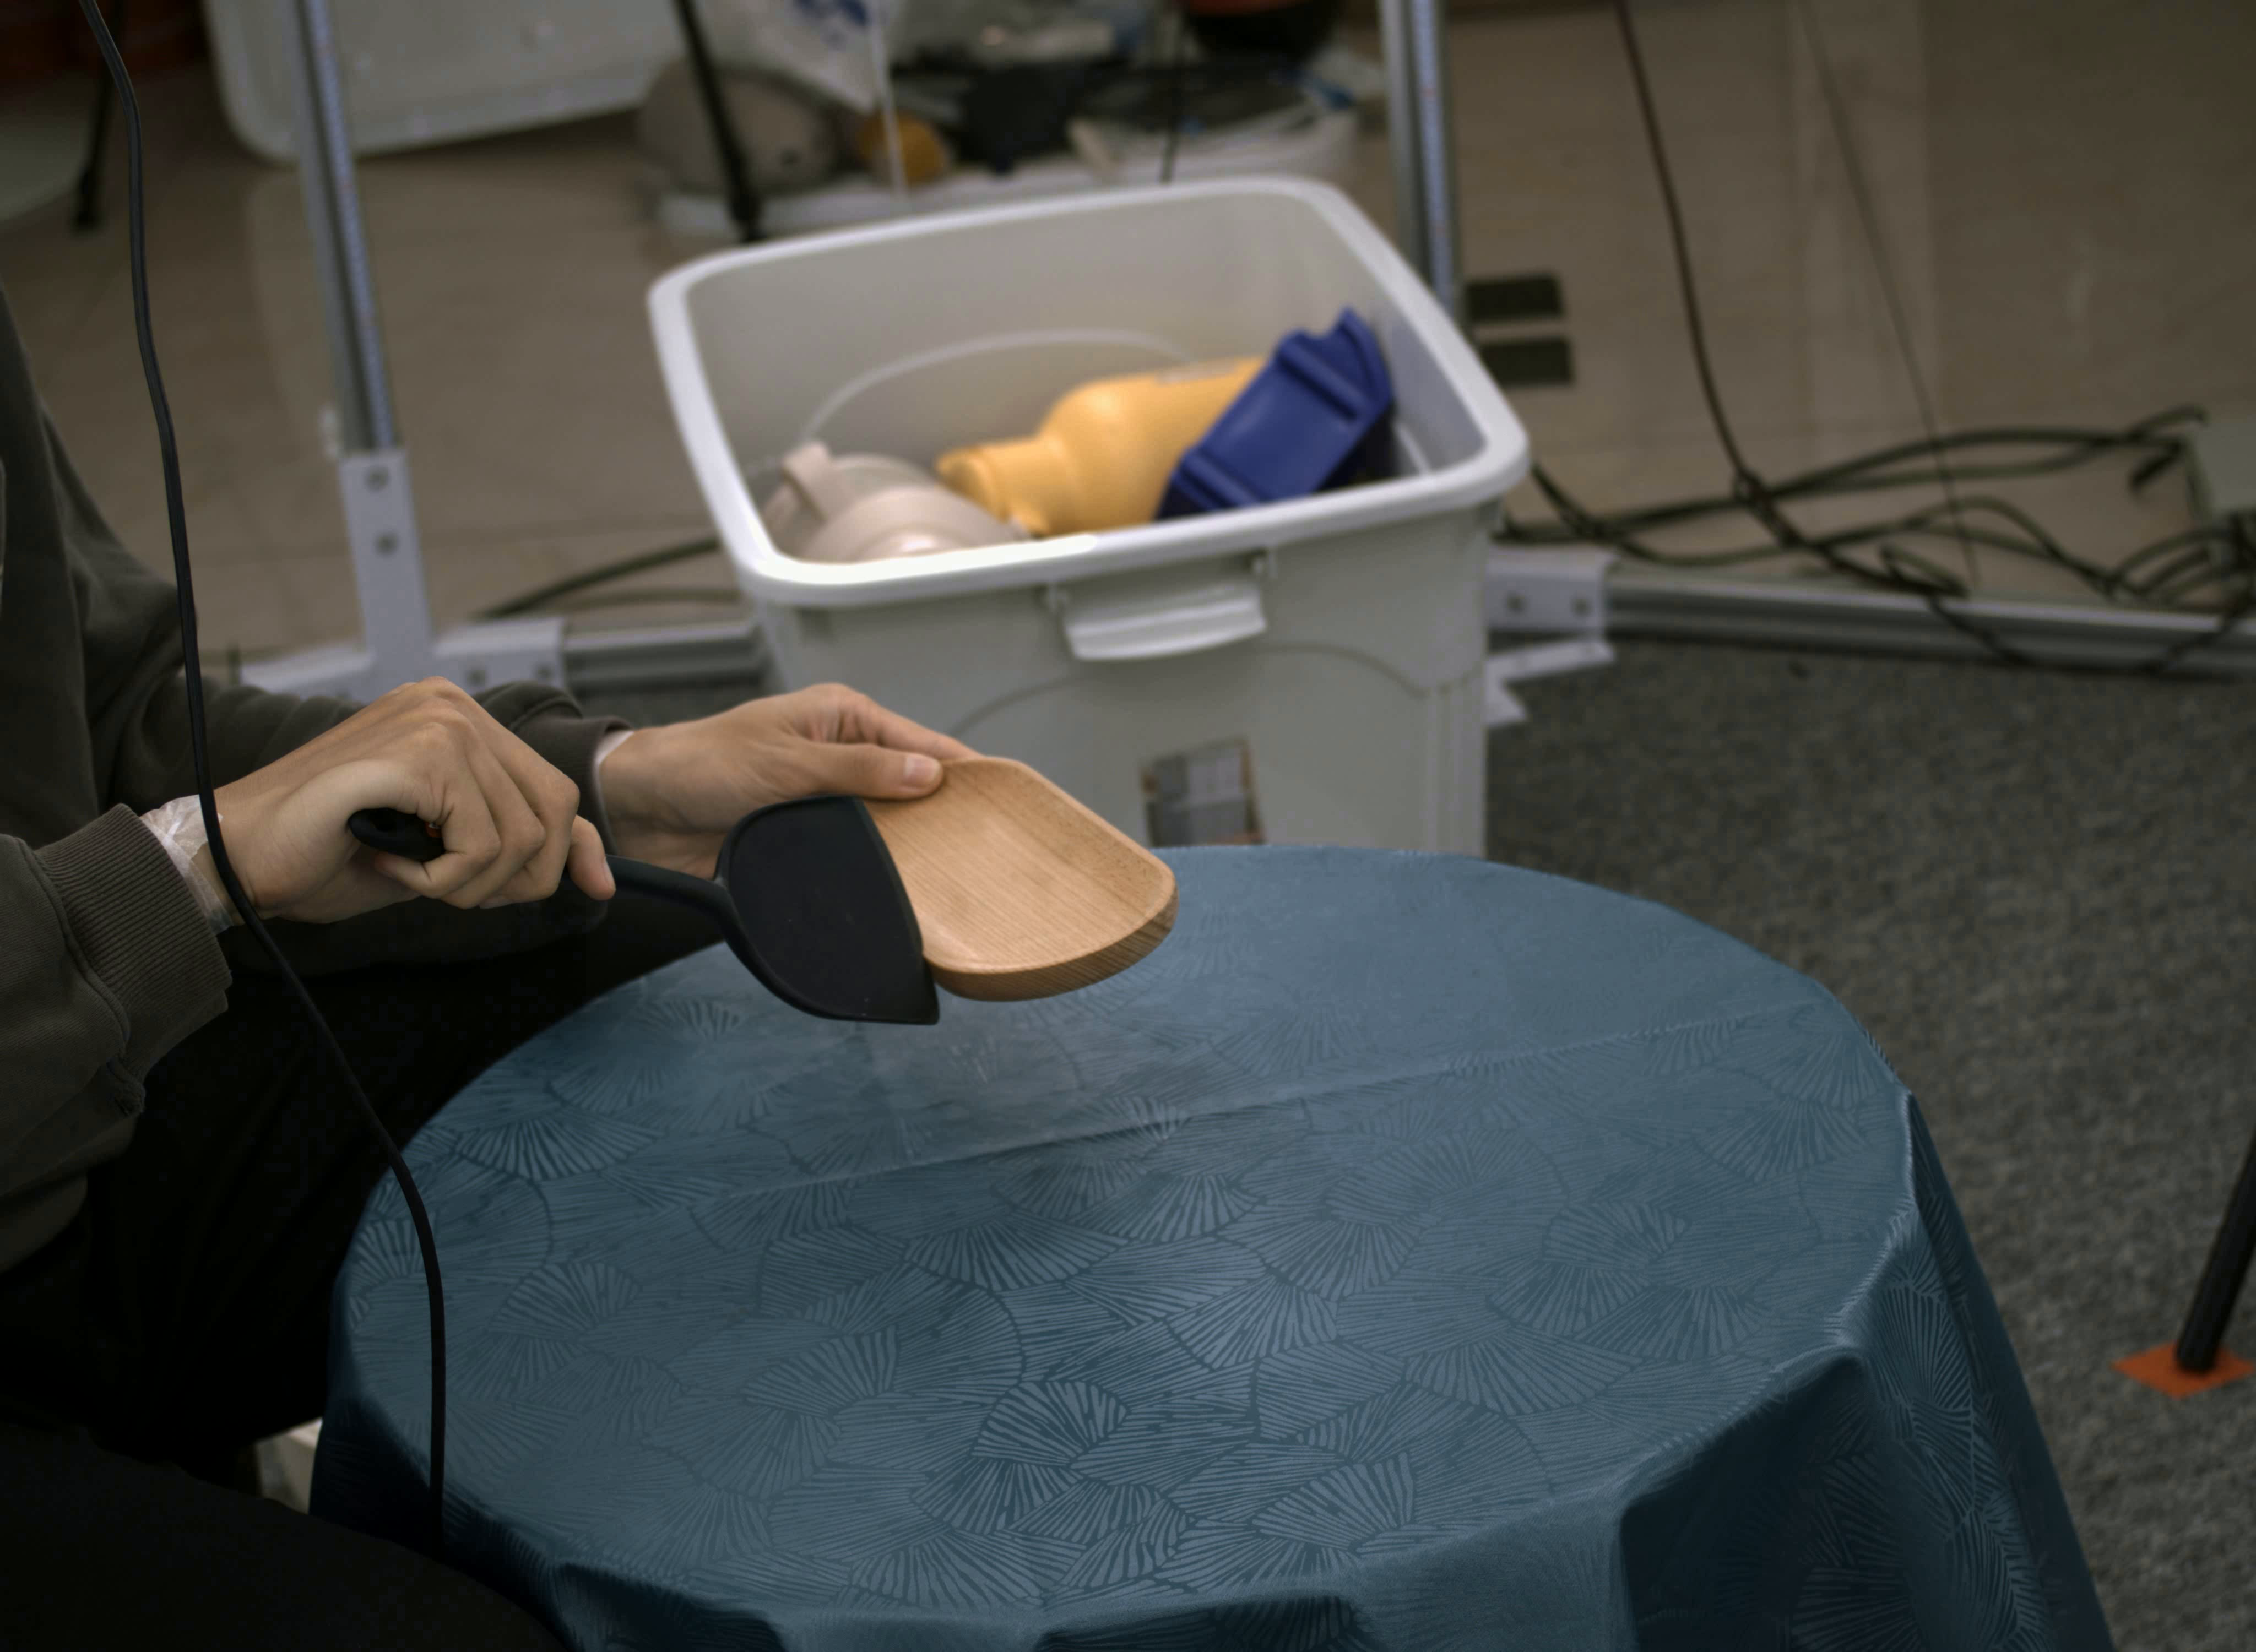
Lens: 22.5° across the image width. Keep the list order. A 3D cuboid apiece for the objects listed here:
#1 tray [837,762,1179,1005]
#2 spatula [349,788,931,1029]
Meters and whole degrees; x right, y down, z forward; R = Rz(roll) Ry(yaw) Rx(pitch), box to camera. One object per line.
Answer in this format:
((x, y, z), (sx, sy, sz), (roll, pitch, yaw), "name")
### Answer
((-0.055, 0.021, 2.186), (0.101, 0.020, 0.228), (-23, 26, -16), "tray")
((-0.170, 0.015, 1.987), (0.040, 0.099, 0.328), (-28, -20, 19), "spatula")
